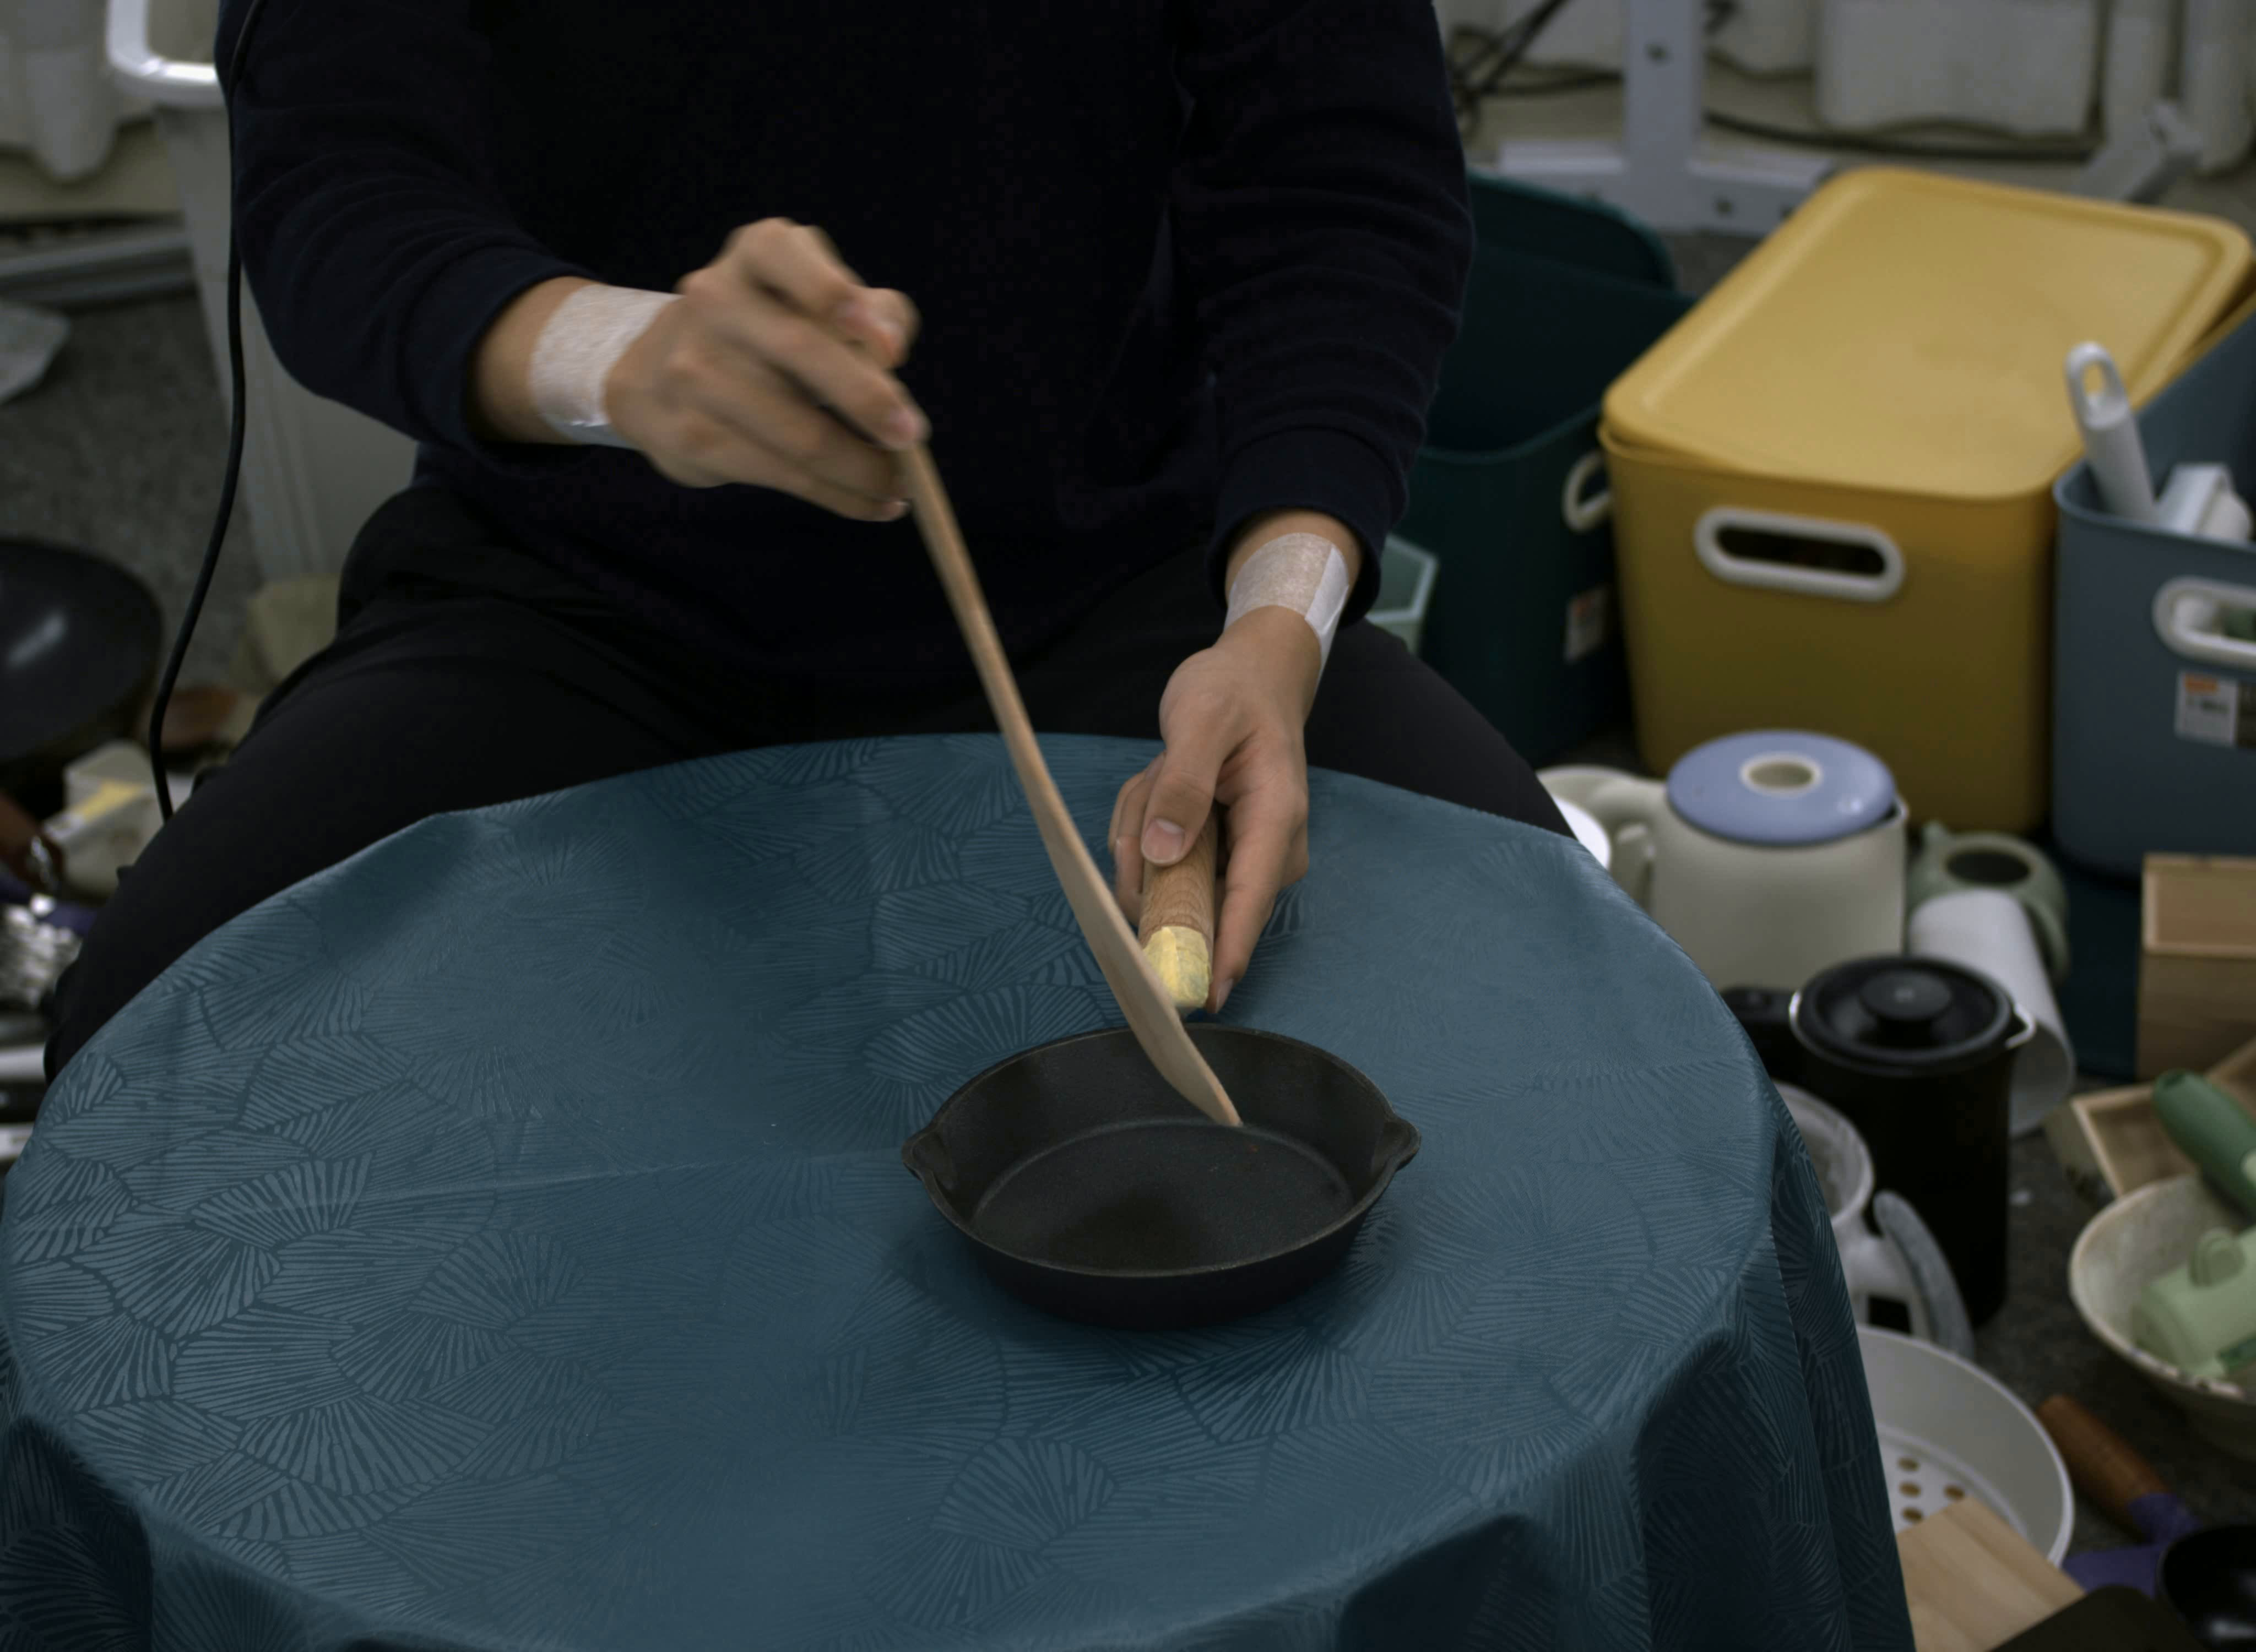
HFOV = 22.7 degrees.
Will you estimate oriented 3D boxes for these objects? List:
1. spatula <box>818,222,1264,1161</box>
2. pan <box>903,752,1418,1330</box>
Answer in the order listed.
[{"bbox_3d":[-0.032,-0.041,1.799,0.016,0.327,0.080,-25,12,-15],"label":"spatula"},{"bbox_3d":[0.016,0.070,1.906,0.168,0.049,0.329,-1,29,5],"label":"pan"}]
